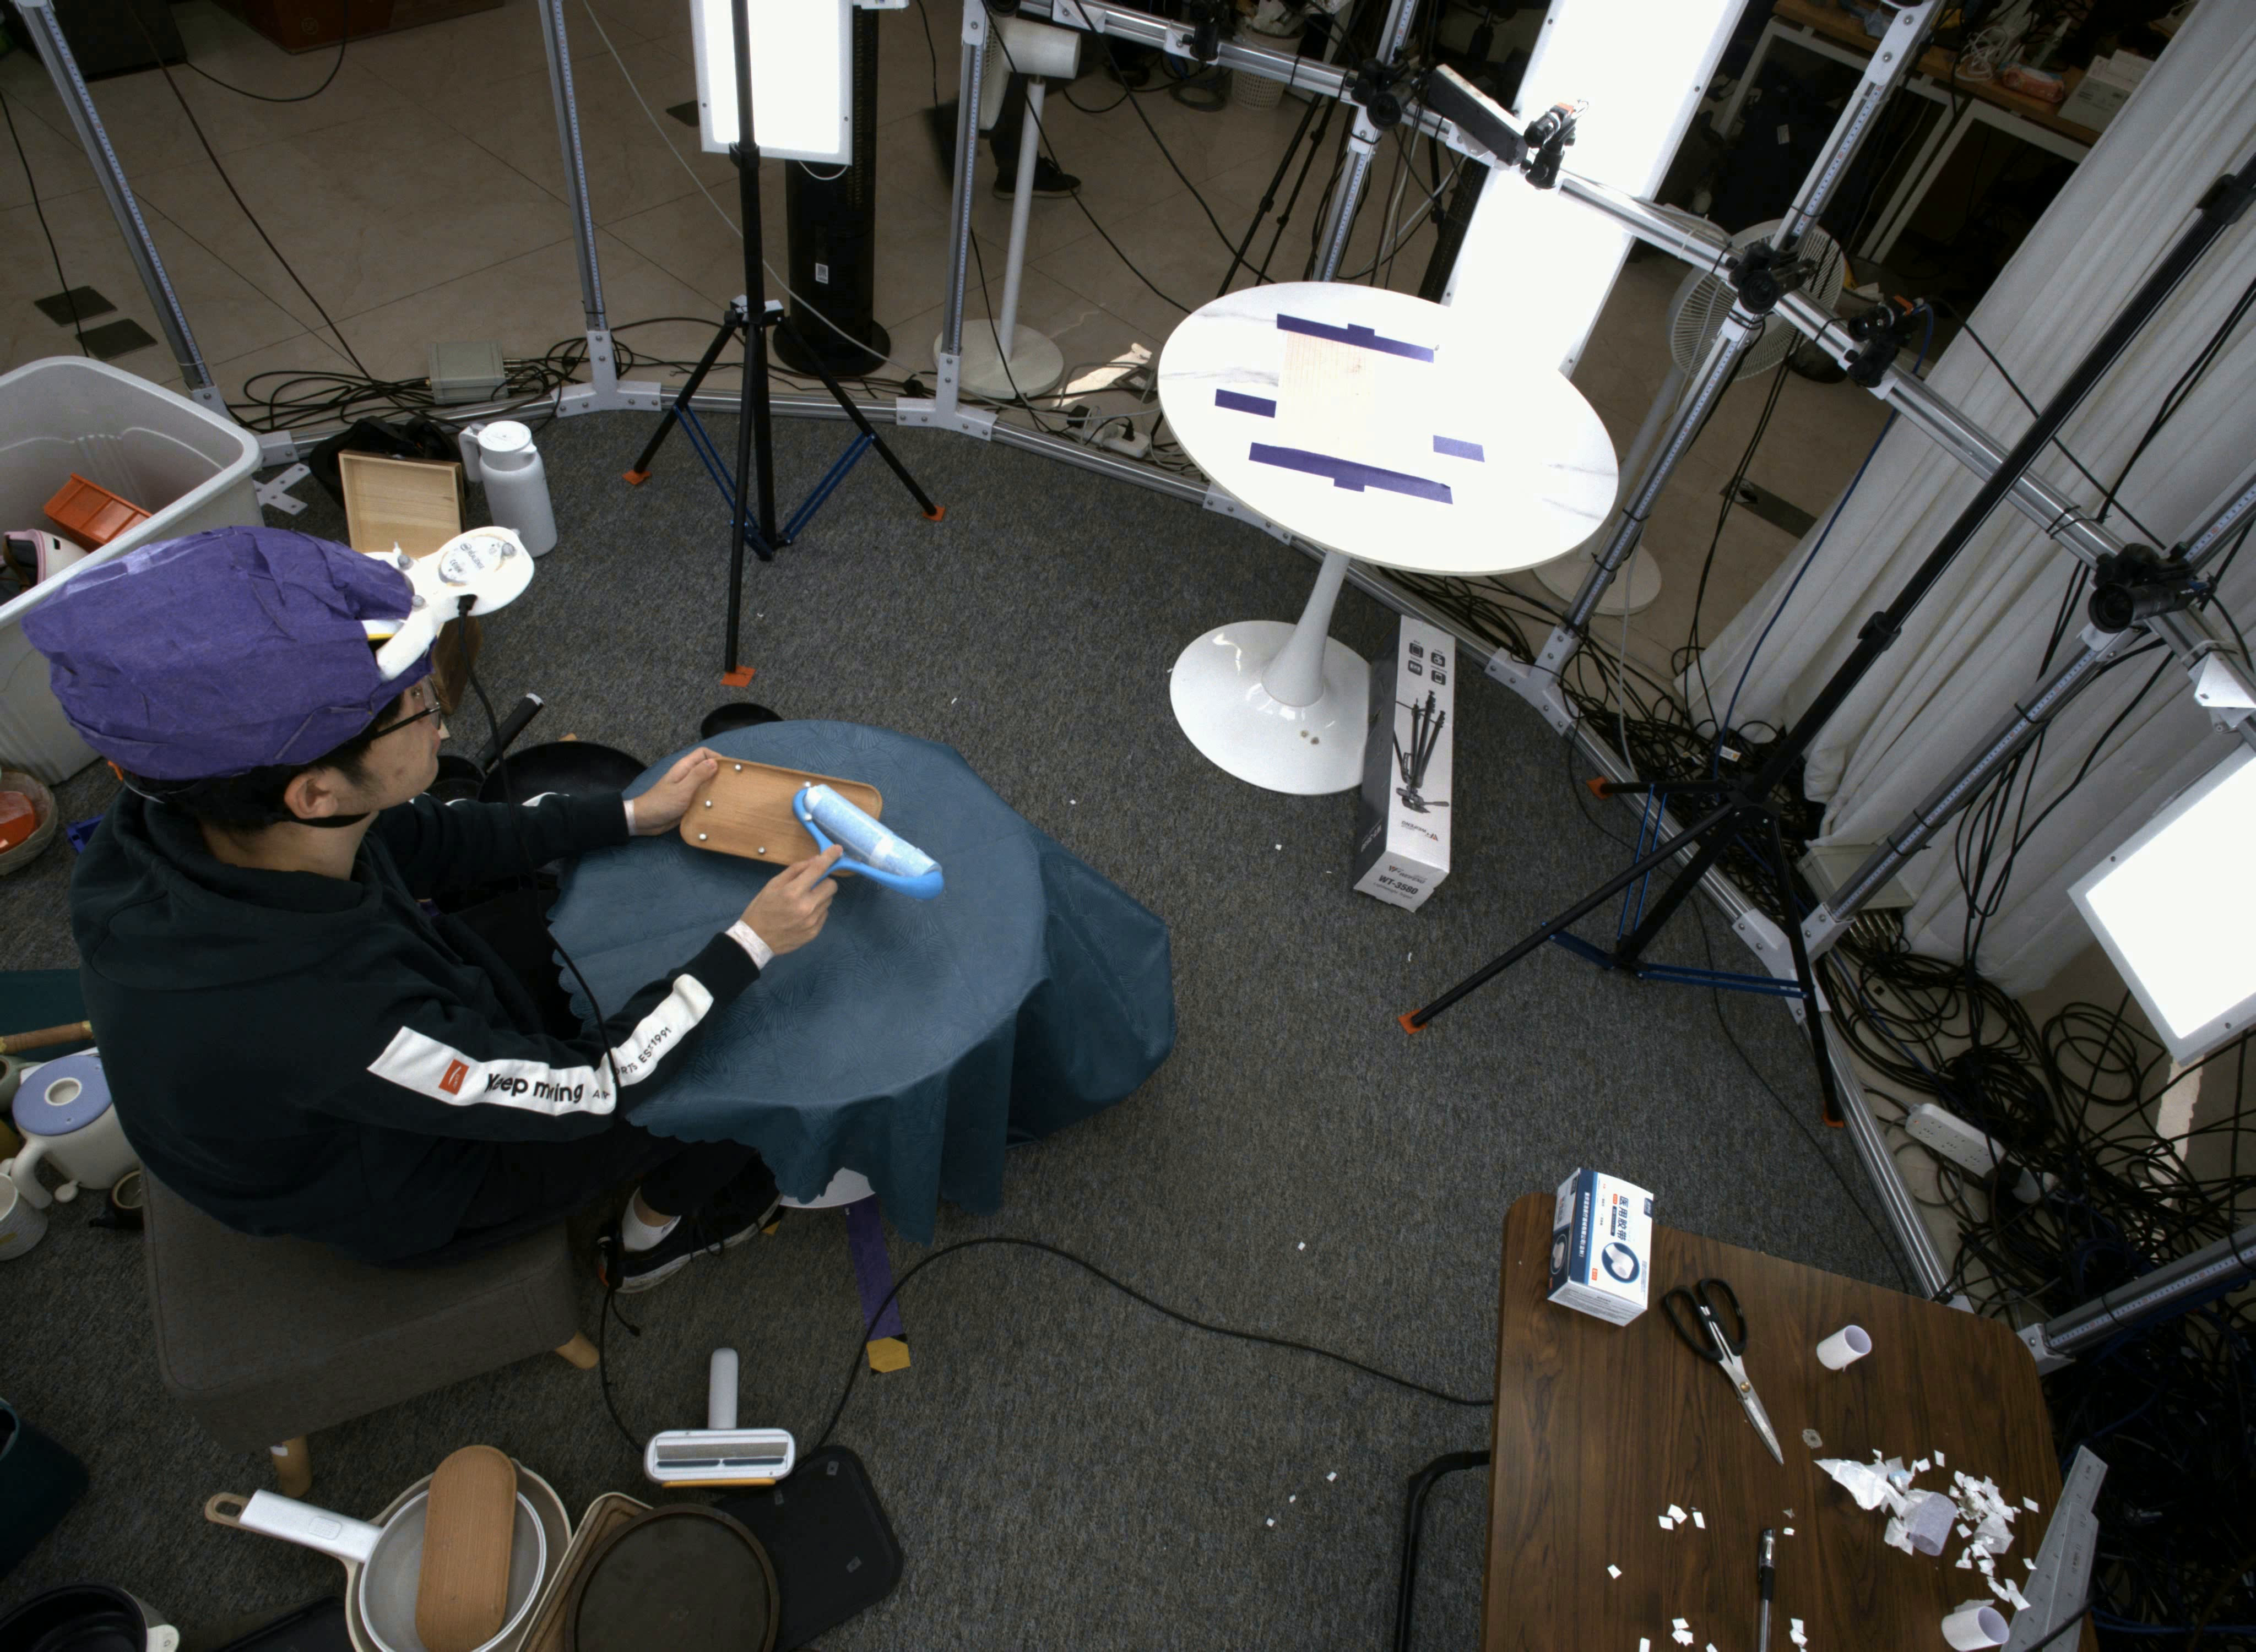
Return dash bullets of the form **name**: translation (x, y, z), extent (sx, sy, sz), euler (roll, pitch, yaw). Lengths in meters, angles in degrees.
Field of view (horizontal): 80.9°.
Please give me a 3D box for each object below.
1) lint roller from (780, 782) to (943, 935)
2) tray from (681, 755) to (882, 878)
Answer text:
- **lint roller**: translation (-0.354, 0.053, 1.569), extent (0.224, 0.069, 0.180), euler (32, 56, 12)
- **tray**: translation (-0.442, -0.013, 1.653), extent (0.247, 0.023, 0.130), euler (12, 74, 4)
